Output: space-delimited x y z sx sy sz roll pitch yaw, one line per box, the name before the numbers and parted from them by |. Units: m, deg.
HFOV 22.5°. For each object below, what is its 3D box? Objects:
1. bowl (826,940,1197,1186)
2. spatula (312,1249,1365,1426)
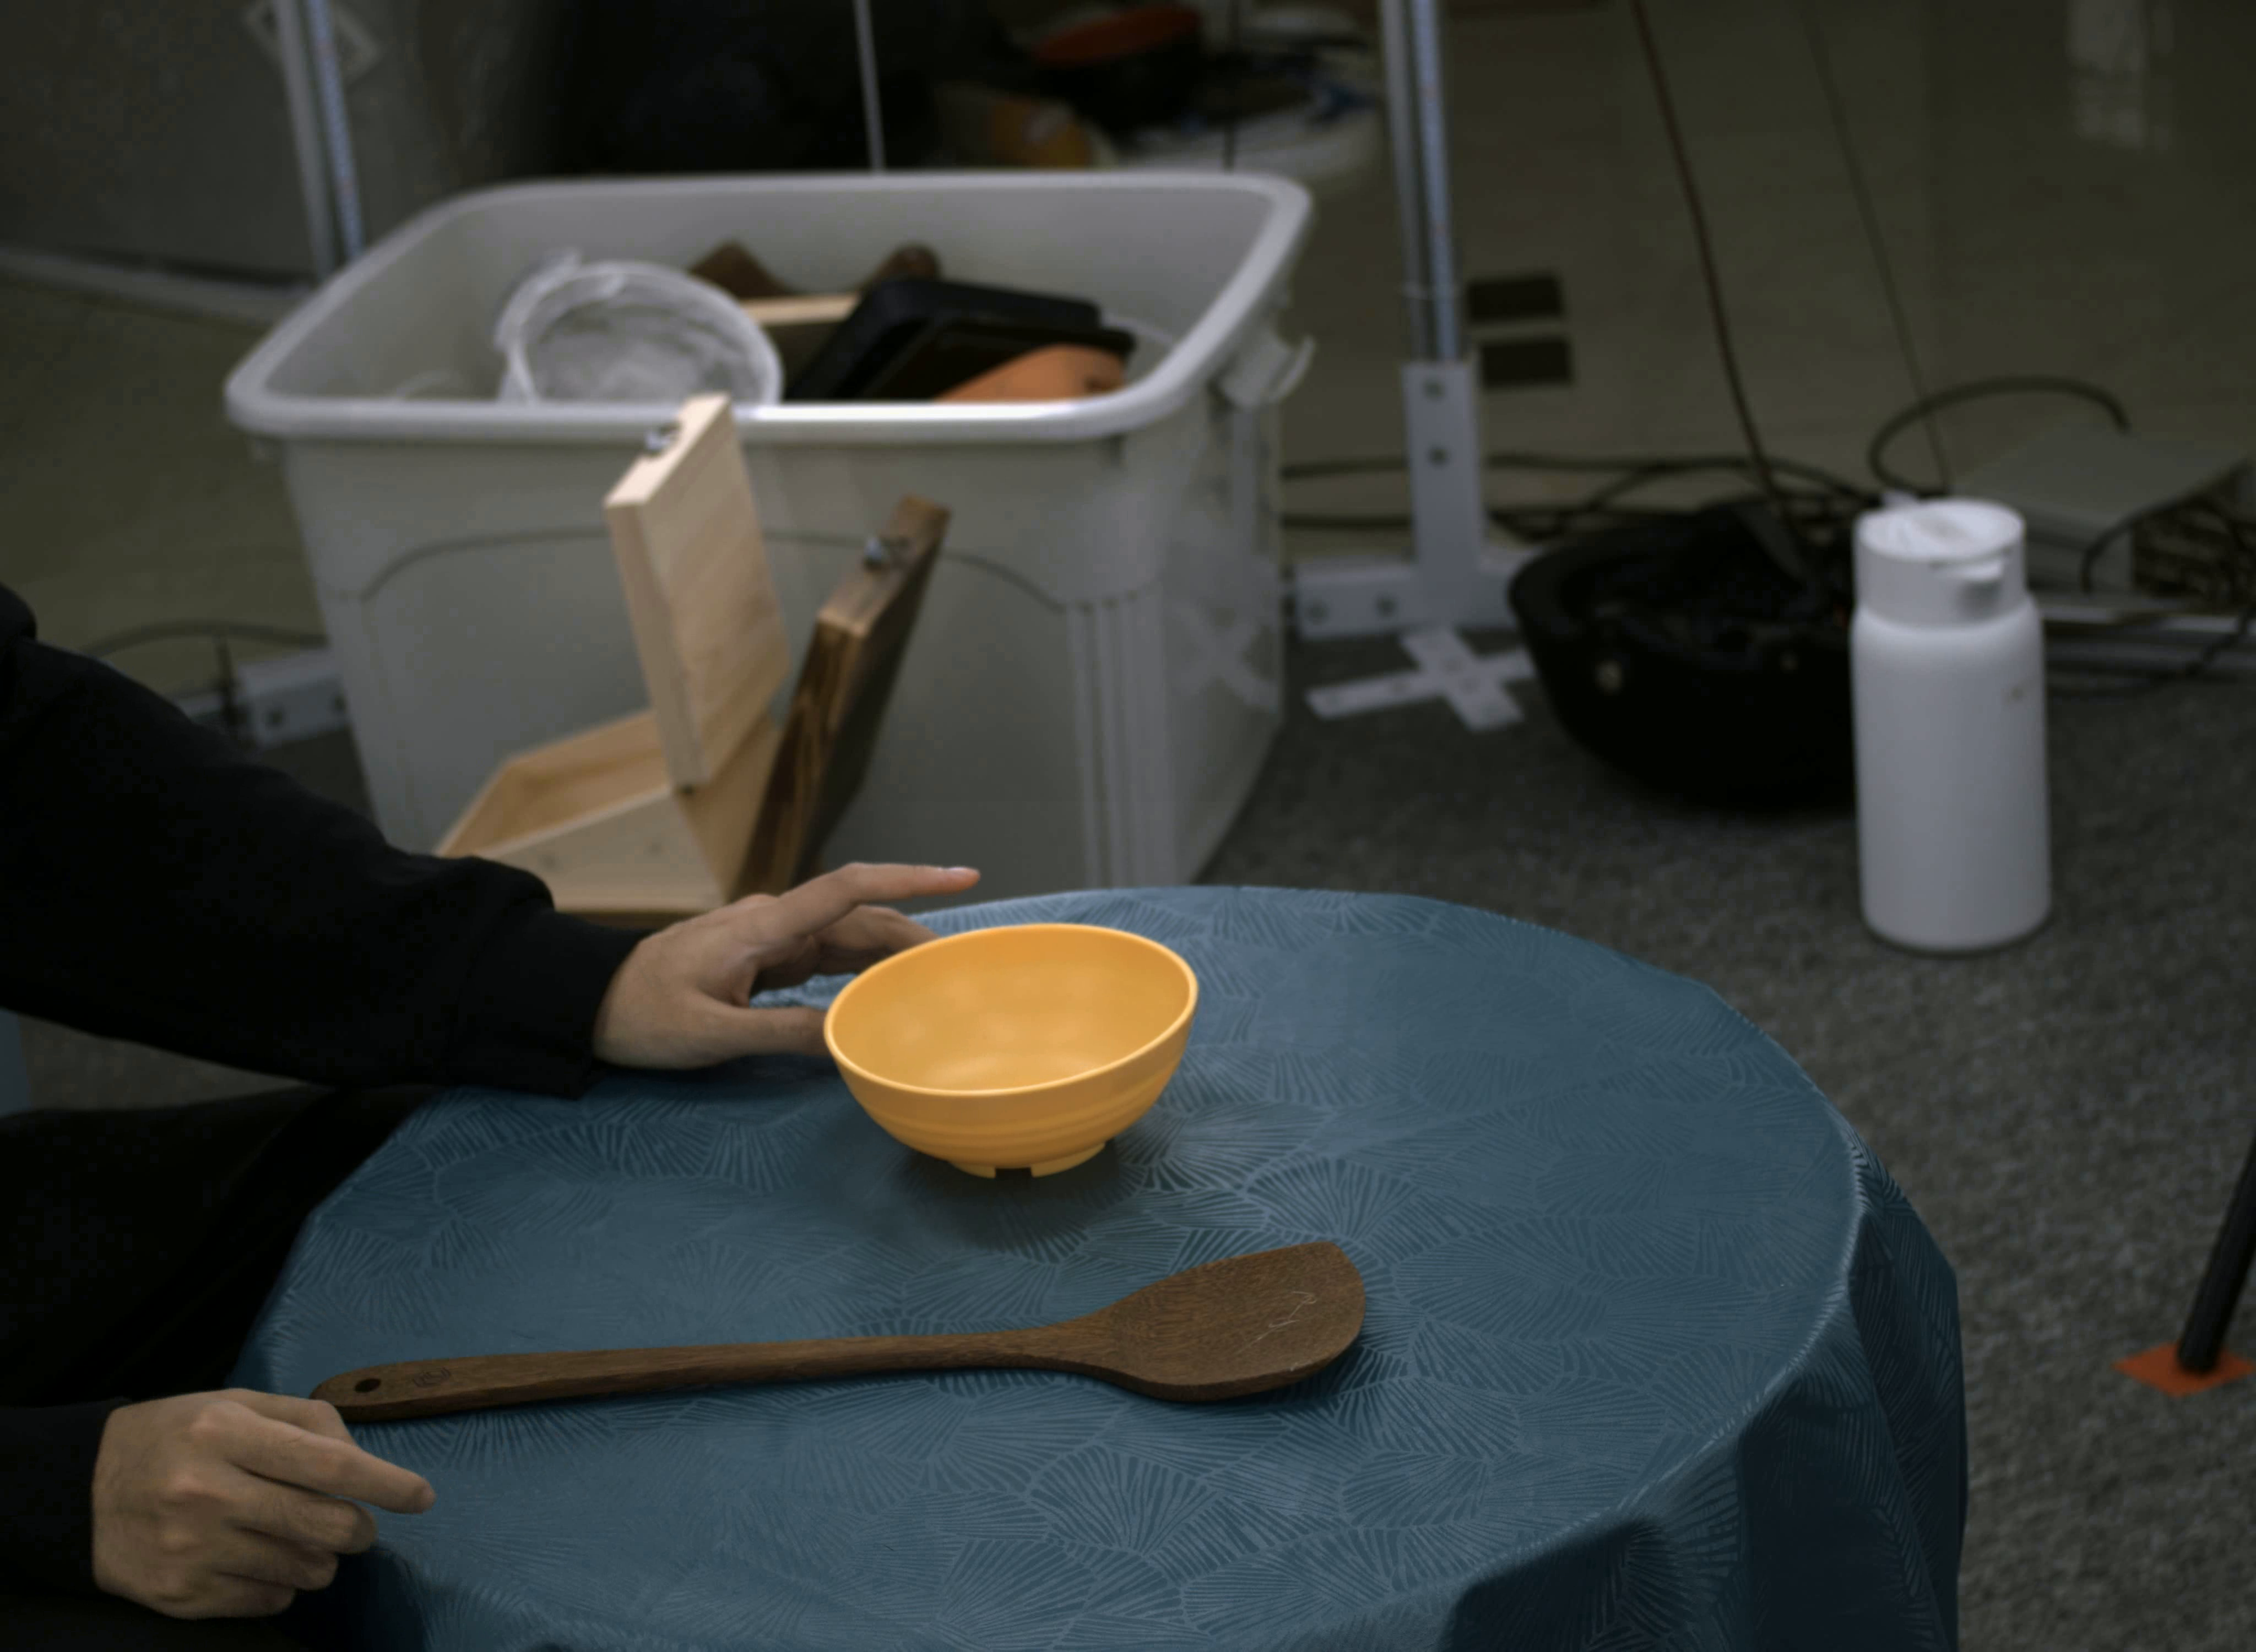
bowl | -0.042 0.098 2.185 0.145 0.061 0.143 -6 22 3
spatula | -0.106 0.192 2.049 0.385 0.016 0.095 -5 24 4
